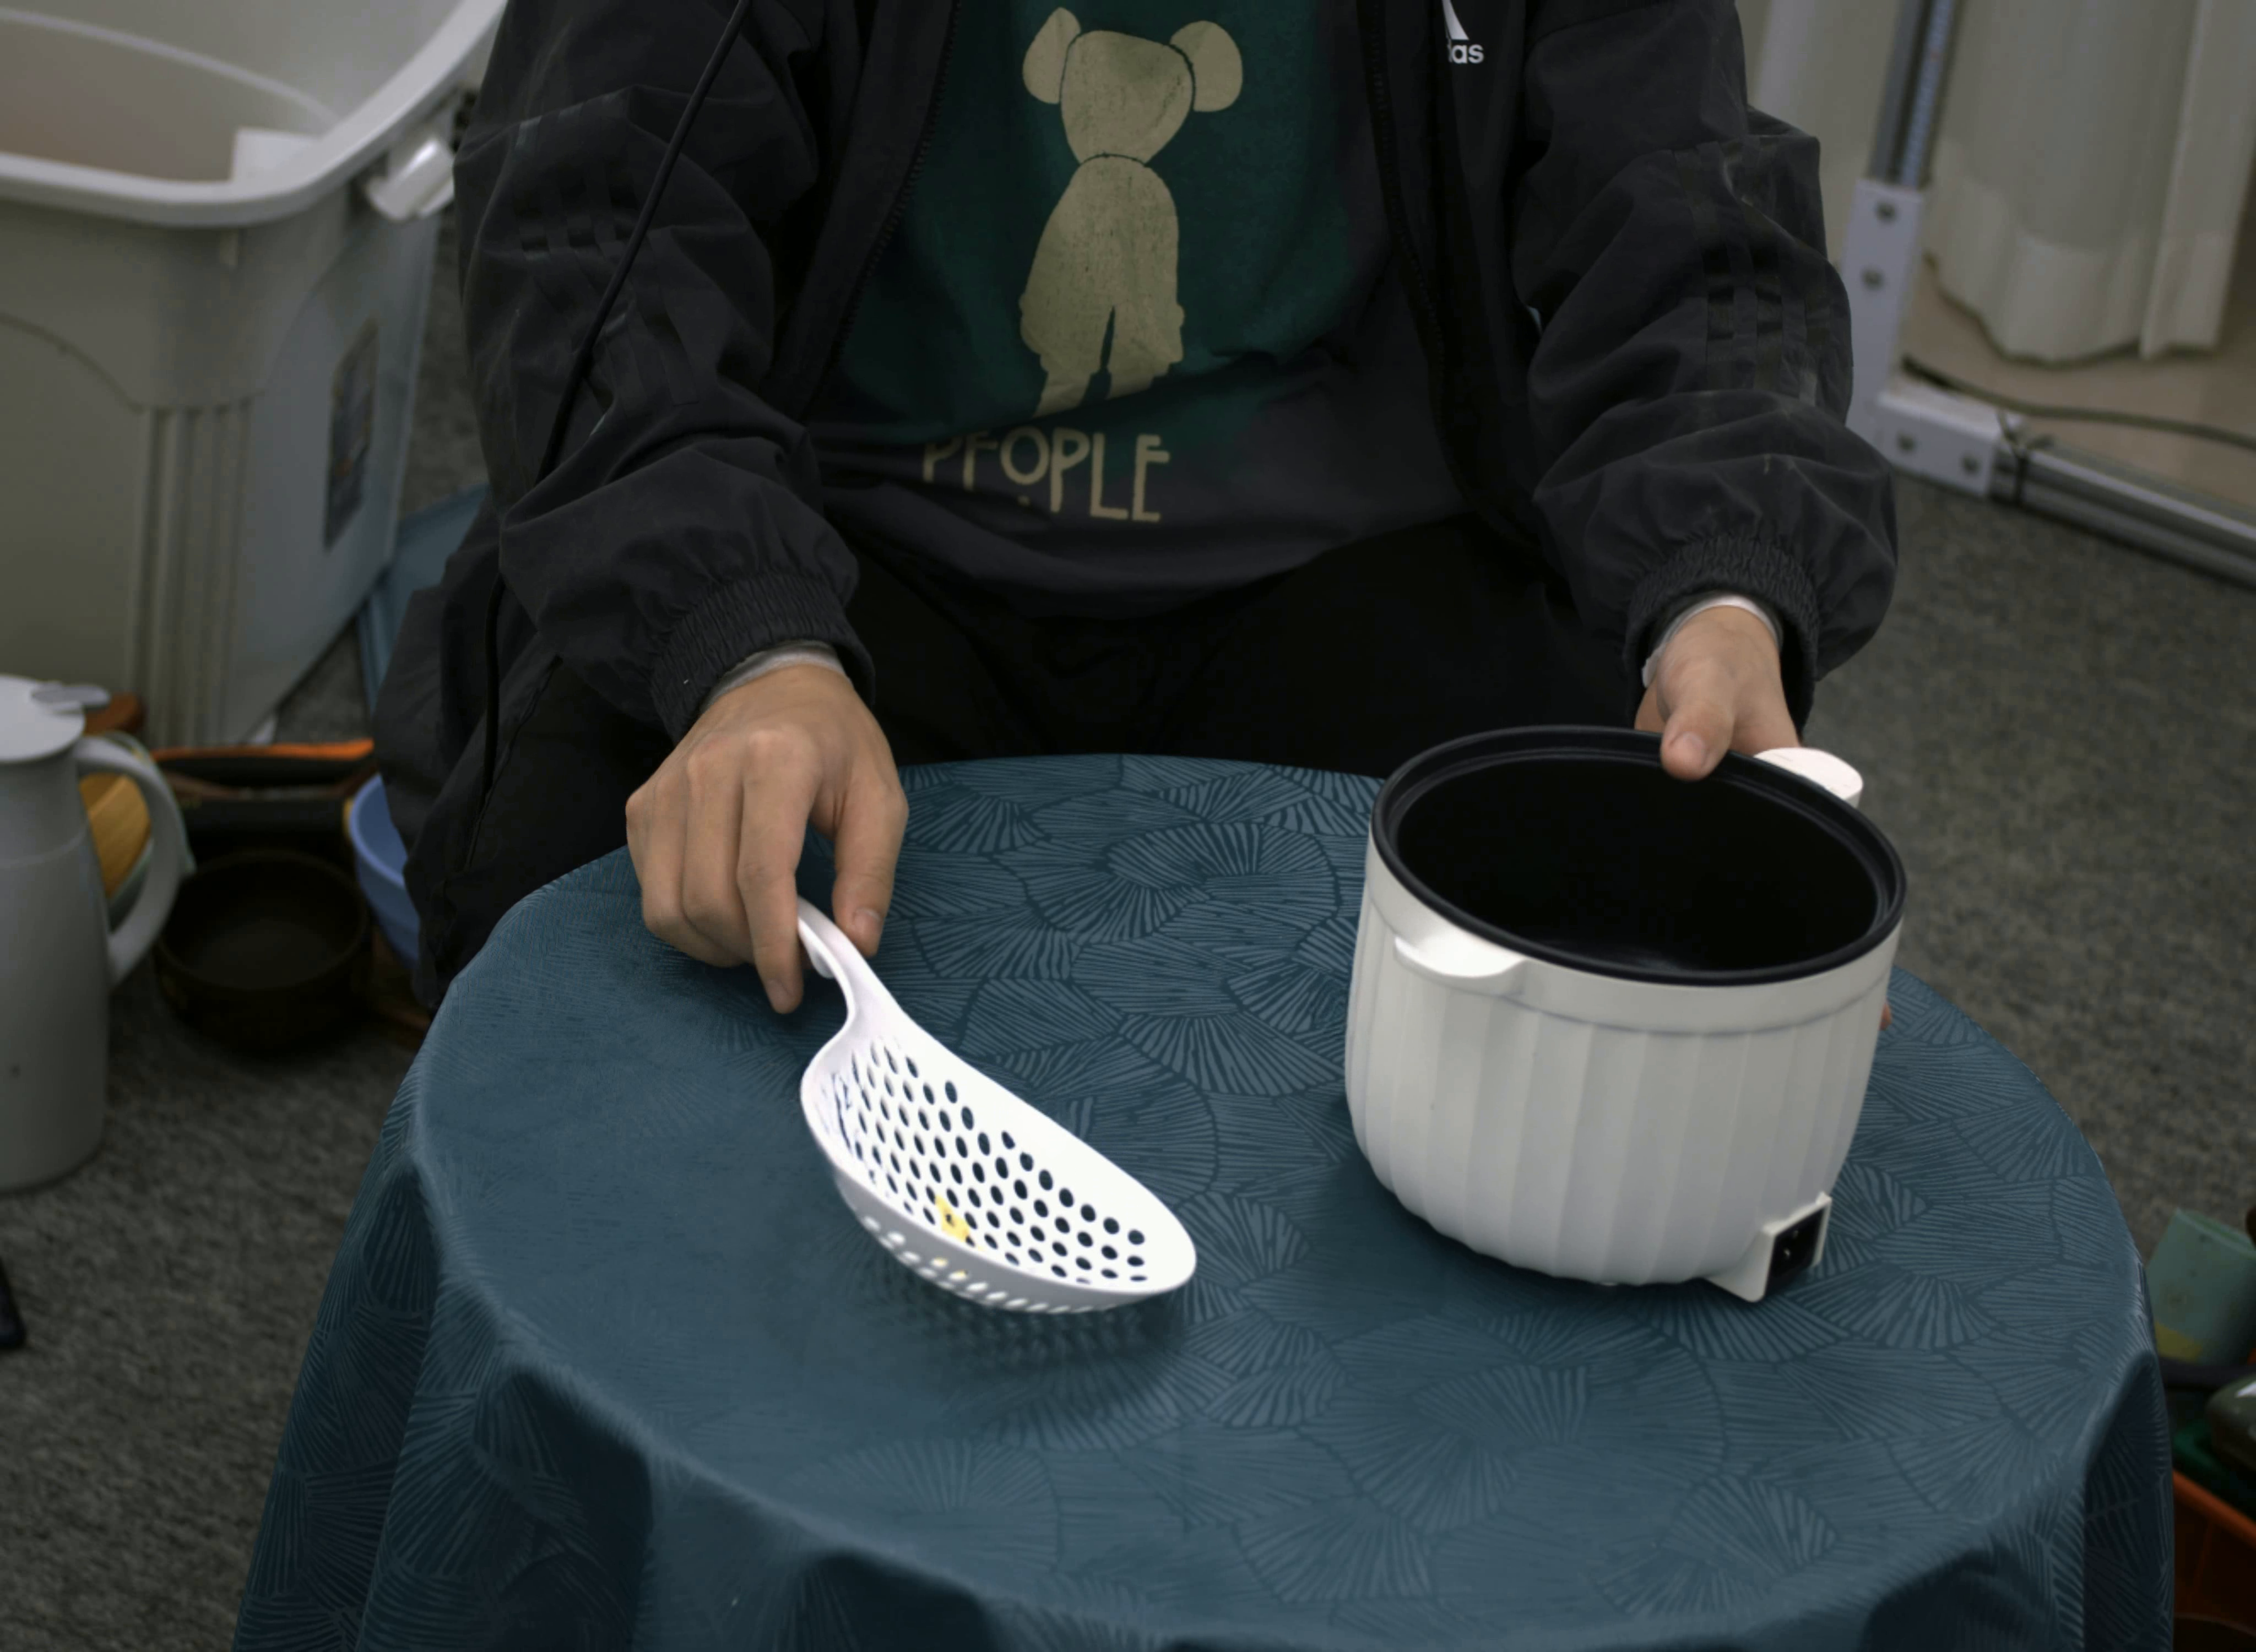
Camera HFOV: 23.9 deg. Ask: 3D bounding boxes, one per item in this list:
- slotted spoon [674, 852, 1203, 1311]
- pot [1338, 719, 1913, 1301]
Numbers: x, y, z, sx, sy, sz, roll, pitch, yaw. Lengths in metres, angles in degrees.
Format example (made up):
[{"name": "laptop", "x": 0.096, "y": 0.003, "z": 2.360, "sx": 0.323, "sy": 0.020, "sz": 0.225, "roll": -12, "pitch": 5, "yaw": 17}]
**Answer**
[{"name": "slotted spoon", "x": -0.086, "y": 0.077, "z": 1.821, "sx": 0.135, "sy": 0.050, "sz": 0.351, "roll": 12, "pitch": 24, "yaw": -28}, {"name": "pot", "x": 0.159, "y": 0.063, "z": 1.807, "sx": 0.192, "sy": 0.142, "sz": 0.239, "roll": 29, "pitch": 33, "yaw": 32}]
